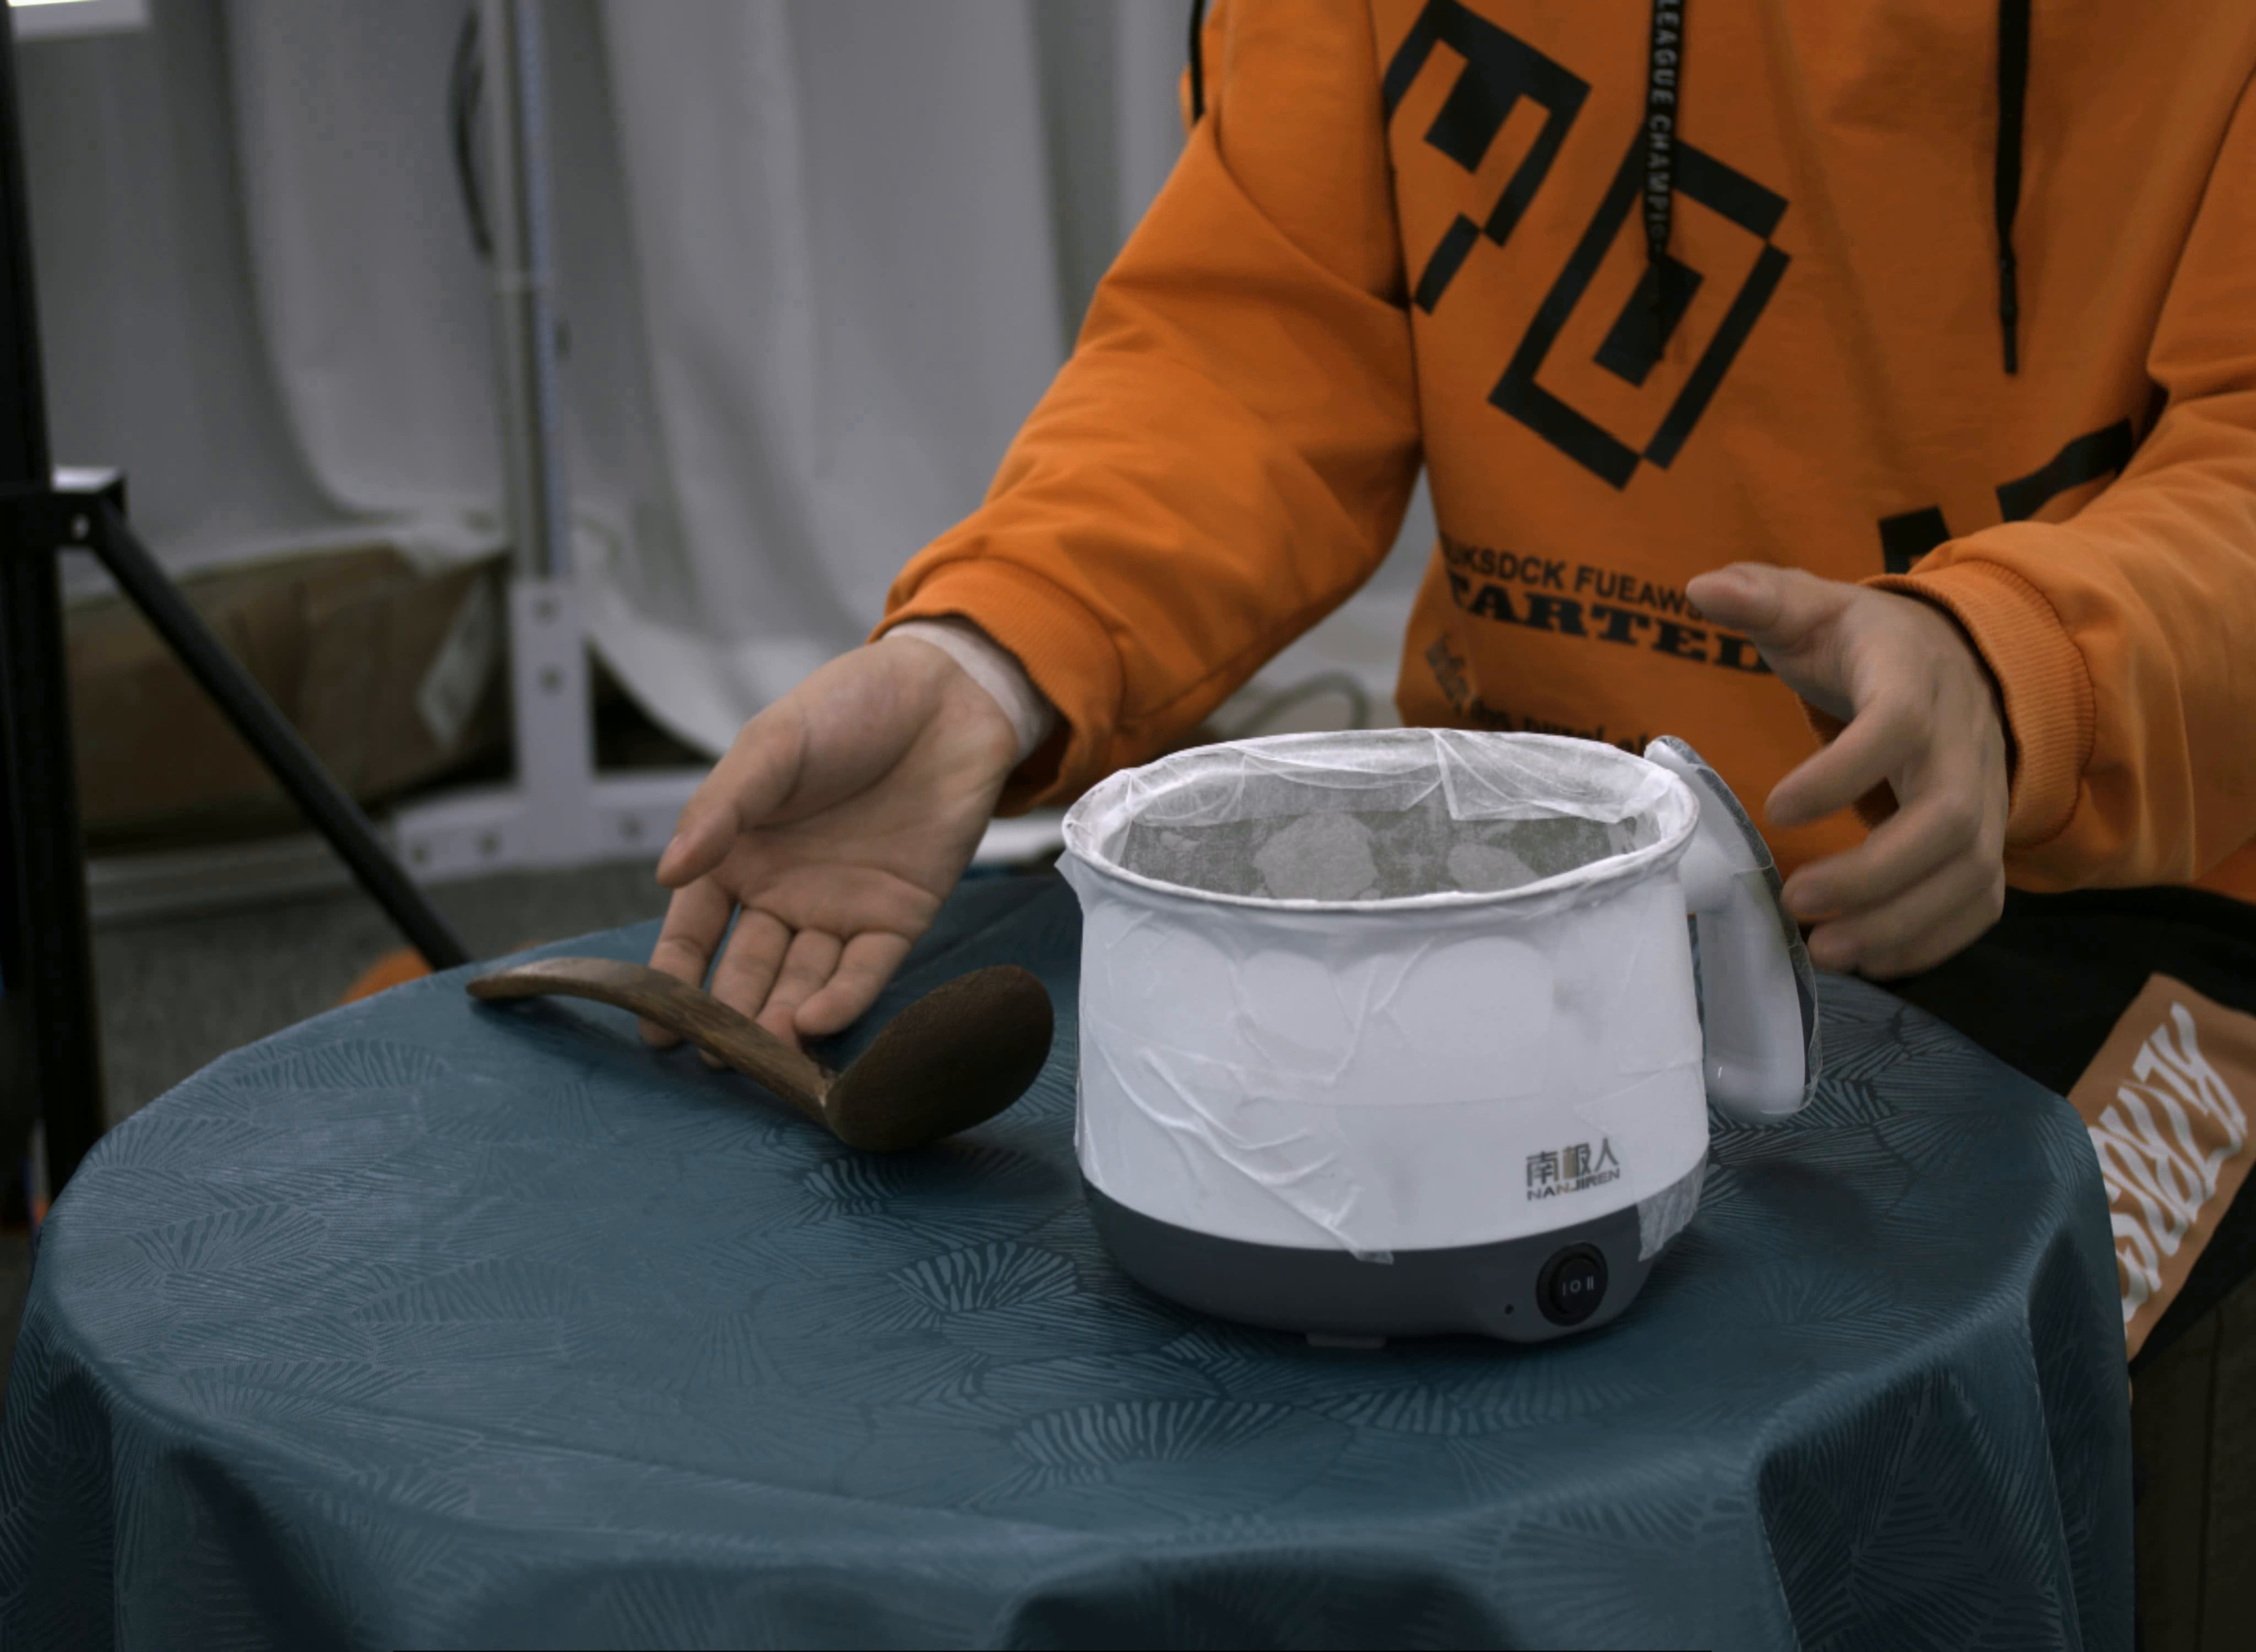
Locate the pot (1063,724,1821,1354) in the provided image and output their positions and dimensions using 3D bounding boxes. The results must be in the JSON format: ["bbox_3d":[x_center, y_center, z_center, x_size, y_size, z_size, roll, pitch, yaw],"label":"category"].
[{"bbox_3d":[0.096,0.052,1.487,0.228,0.136,0.183,-12,19,-30],"label":"pot"}]

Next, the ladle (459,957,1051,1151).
[{"bbox_3d":[-0.126,0.048,1.664,0.074,0.071,0.280,-11,18,-37],"label":"ladle"}]
